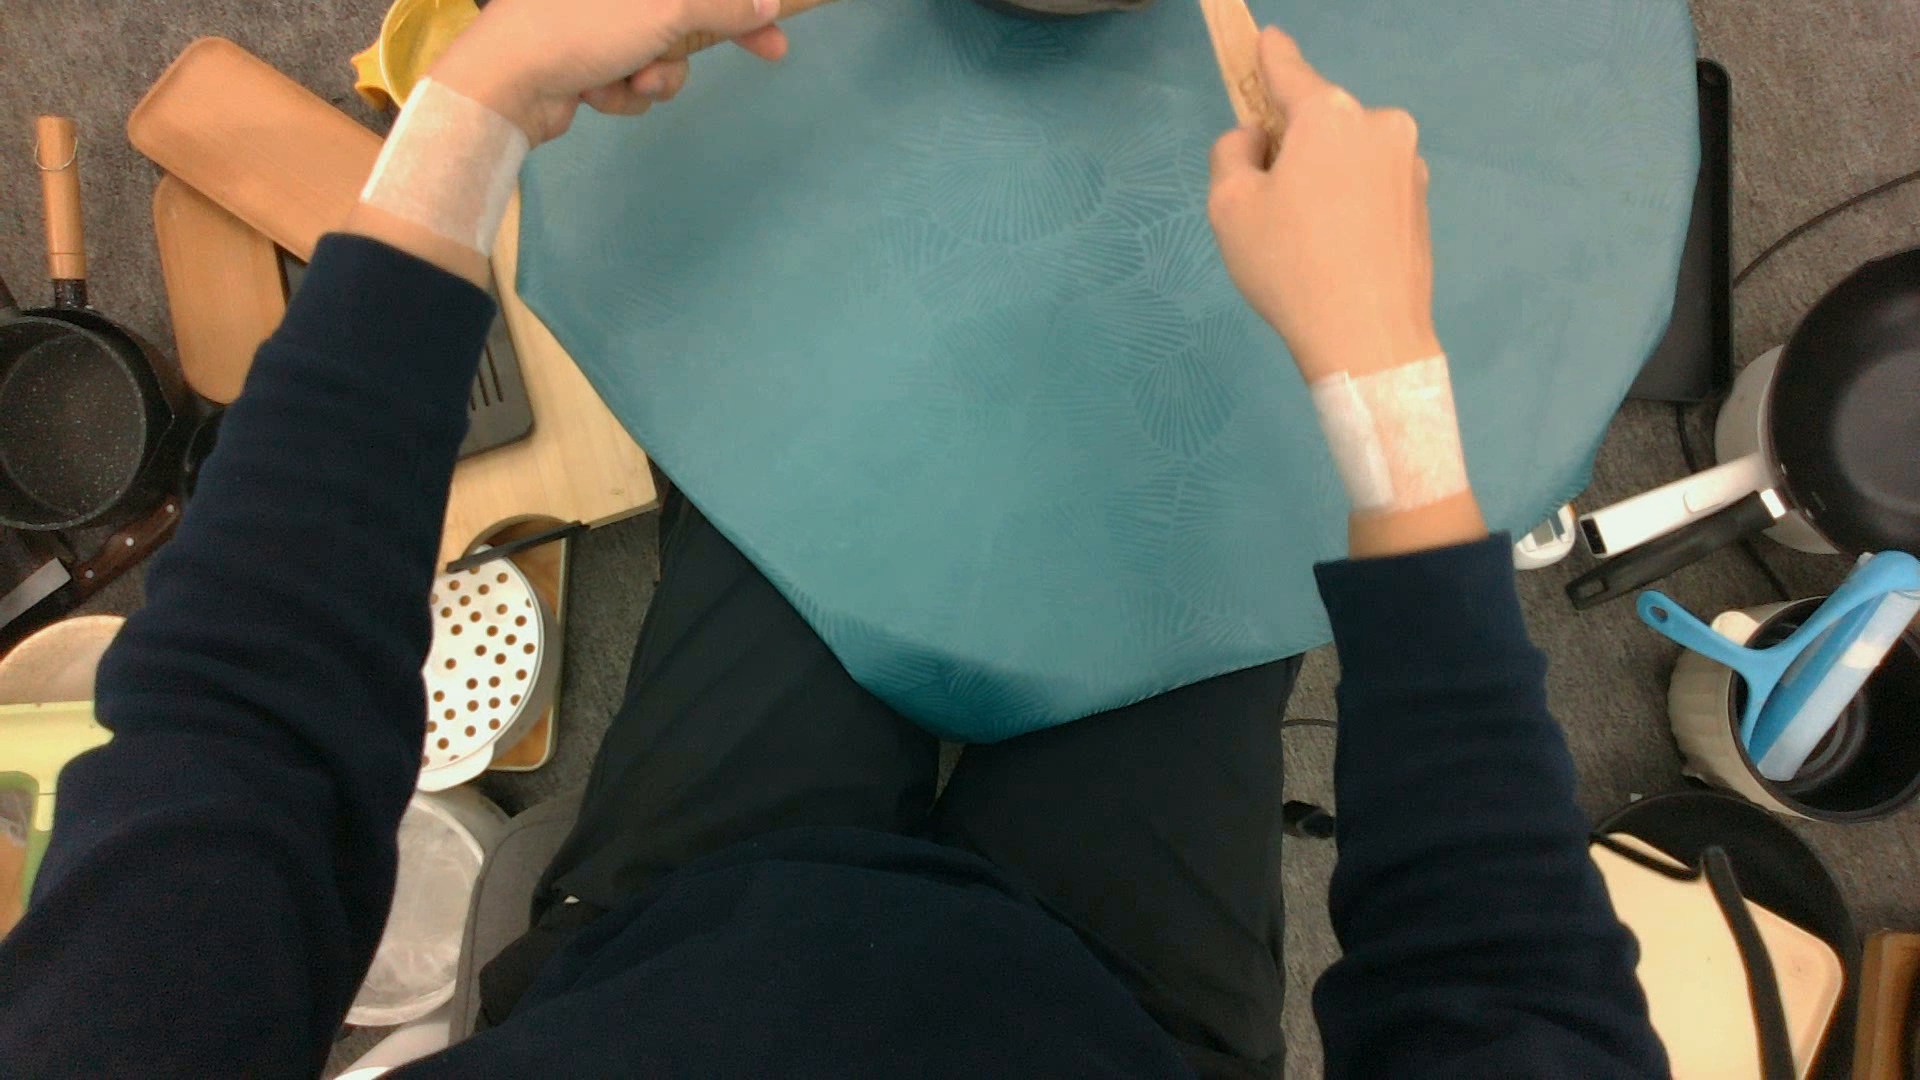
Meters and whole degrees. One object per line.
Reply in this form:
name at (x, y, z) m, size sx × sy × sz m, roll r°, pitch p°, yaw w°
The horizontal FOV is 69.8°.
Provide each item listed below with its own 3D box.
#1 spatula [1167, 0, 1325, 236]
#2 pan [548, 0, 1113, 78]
spatula at (0.089, -0.260, 0.610) m, size 0.016 × 0.079 × 0.328 m, roll 9°, pitch 52°, yaw -40°
pan at (-0.045, -0.279, 0.633) m, size 0.325 × 0.049 × 0.169 m, roll -33°, pitch 86°, yaw -22°
